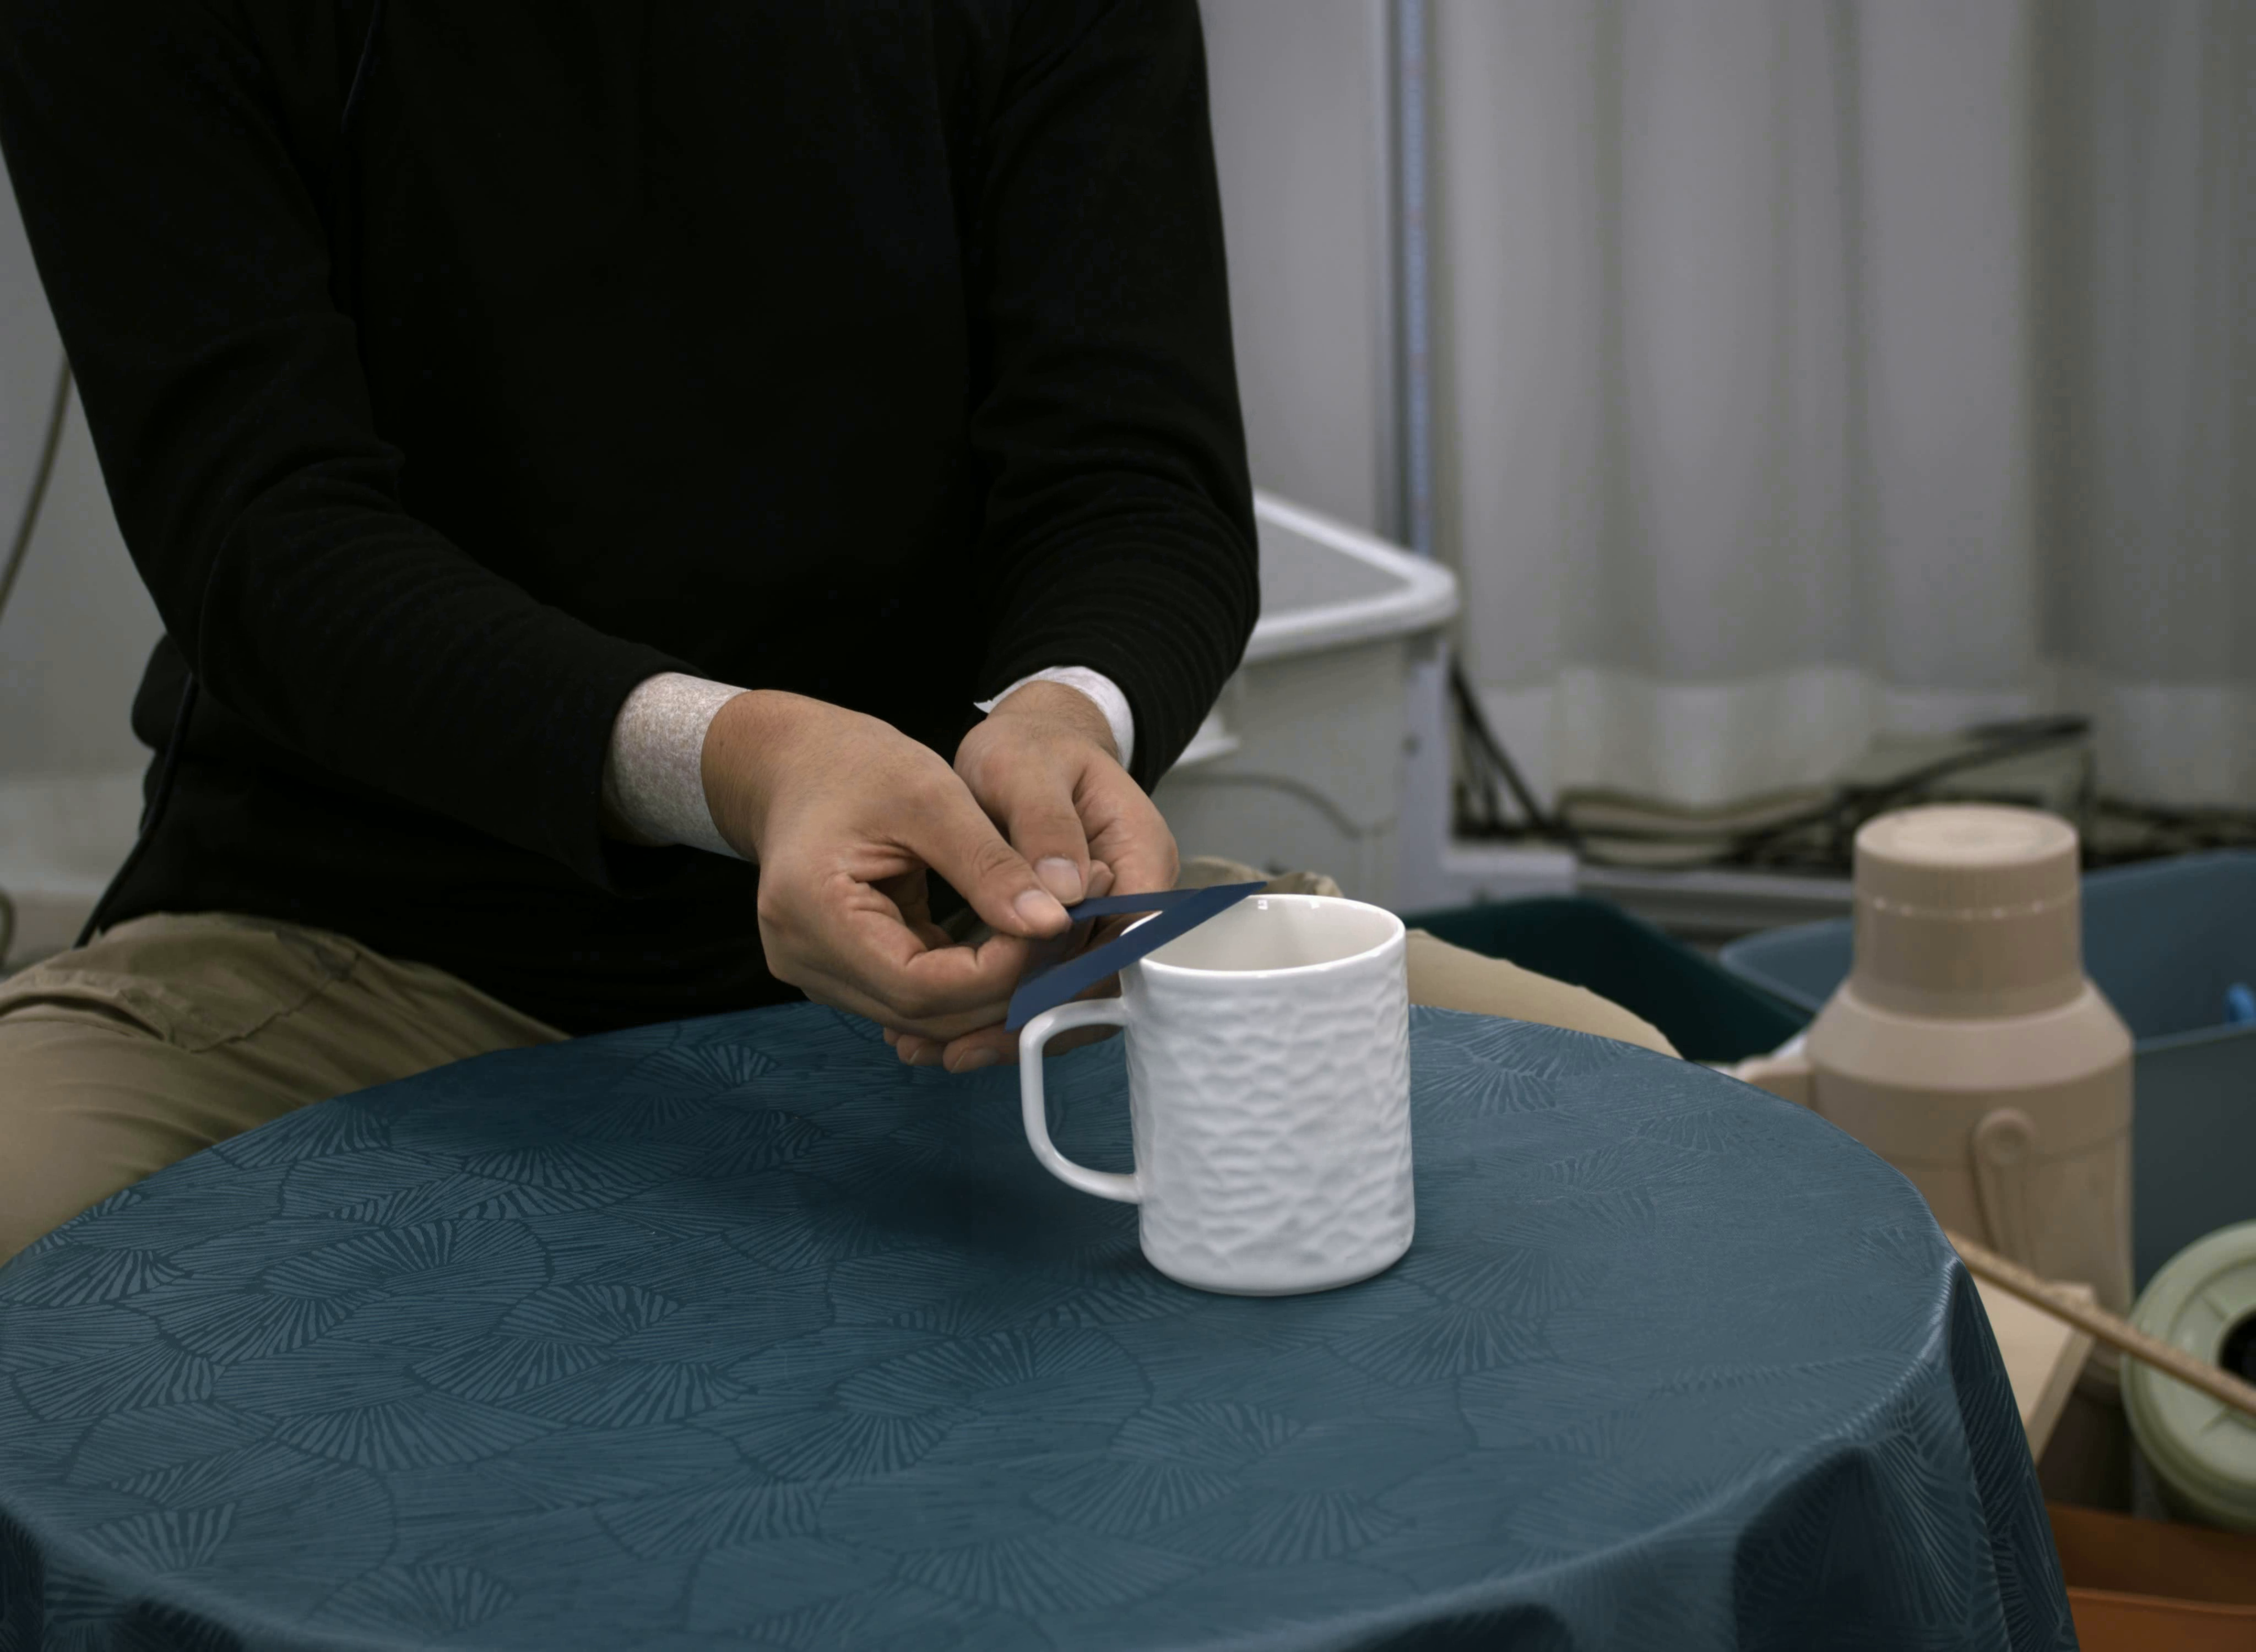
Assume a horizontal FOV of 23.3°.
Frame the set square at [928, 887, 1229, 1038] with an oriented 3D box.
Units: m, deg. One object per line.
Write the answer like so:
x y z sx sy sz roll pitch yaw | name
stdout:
-0.031 0.037 1.621 0.061 0.006 0.132 8 22 38 | set square

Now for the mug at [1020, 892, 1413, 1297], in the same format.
0.027 0.082 1.635 0.118 0.101 0.085 -5 14 -9 | mug
